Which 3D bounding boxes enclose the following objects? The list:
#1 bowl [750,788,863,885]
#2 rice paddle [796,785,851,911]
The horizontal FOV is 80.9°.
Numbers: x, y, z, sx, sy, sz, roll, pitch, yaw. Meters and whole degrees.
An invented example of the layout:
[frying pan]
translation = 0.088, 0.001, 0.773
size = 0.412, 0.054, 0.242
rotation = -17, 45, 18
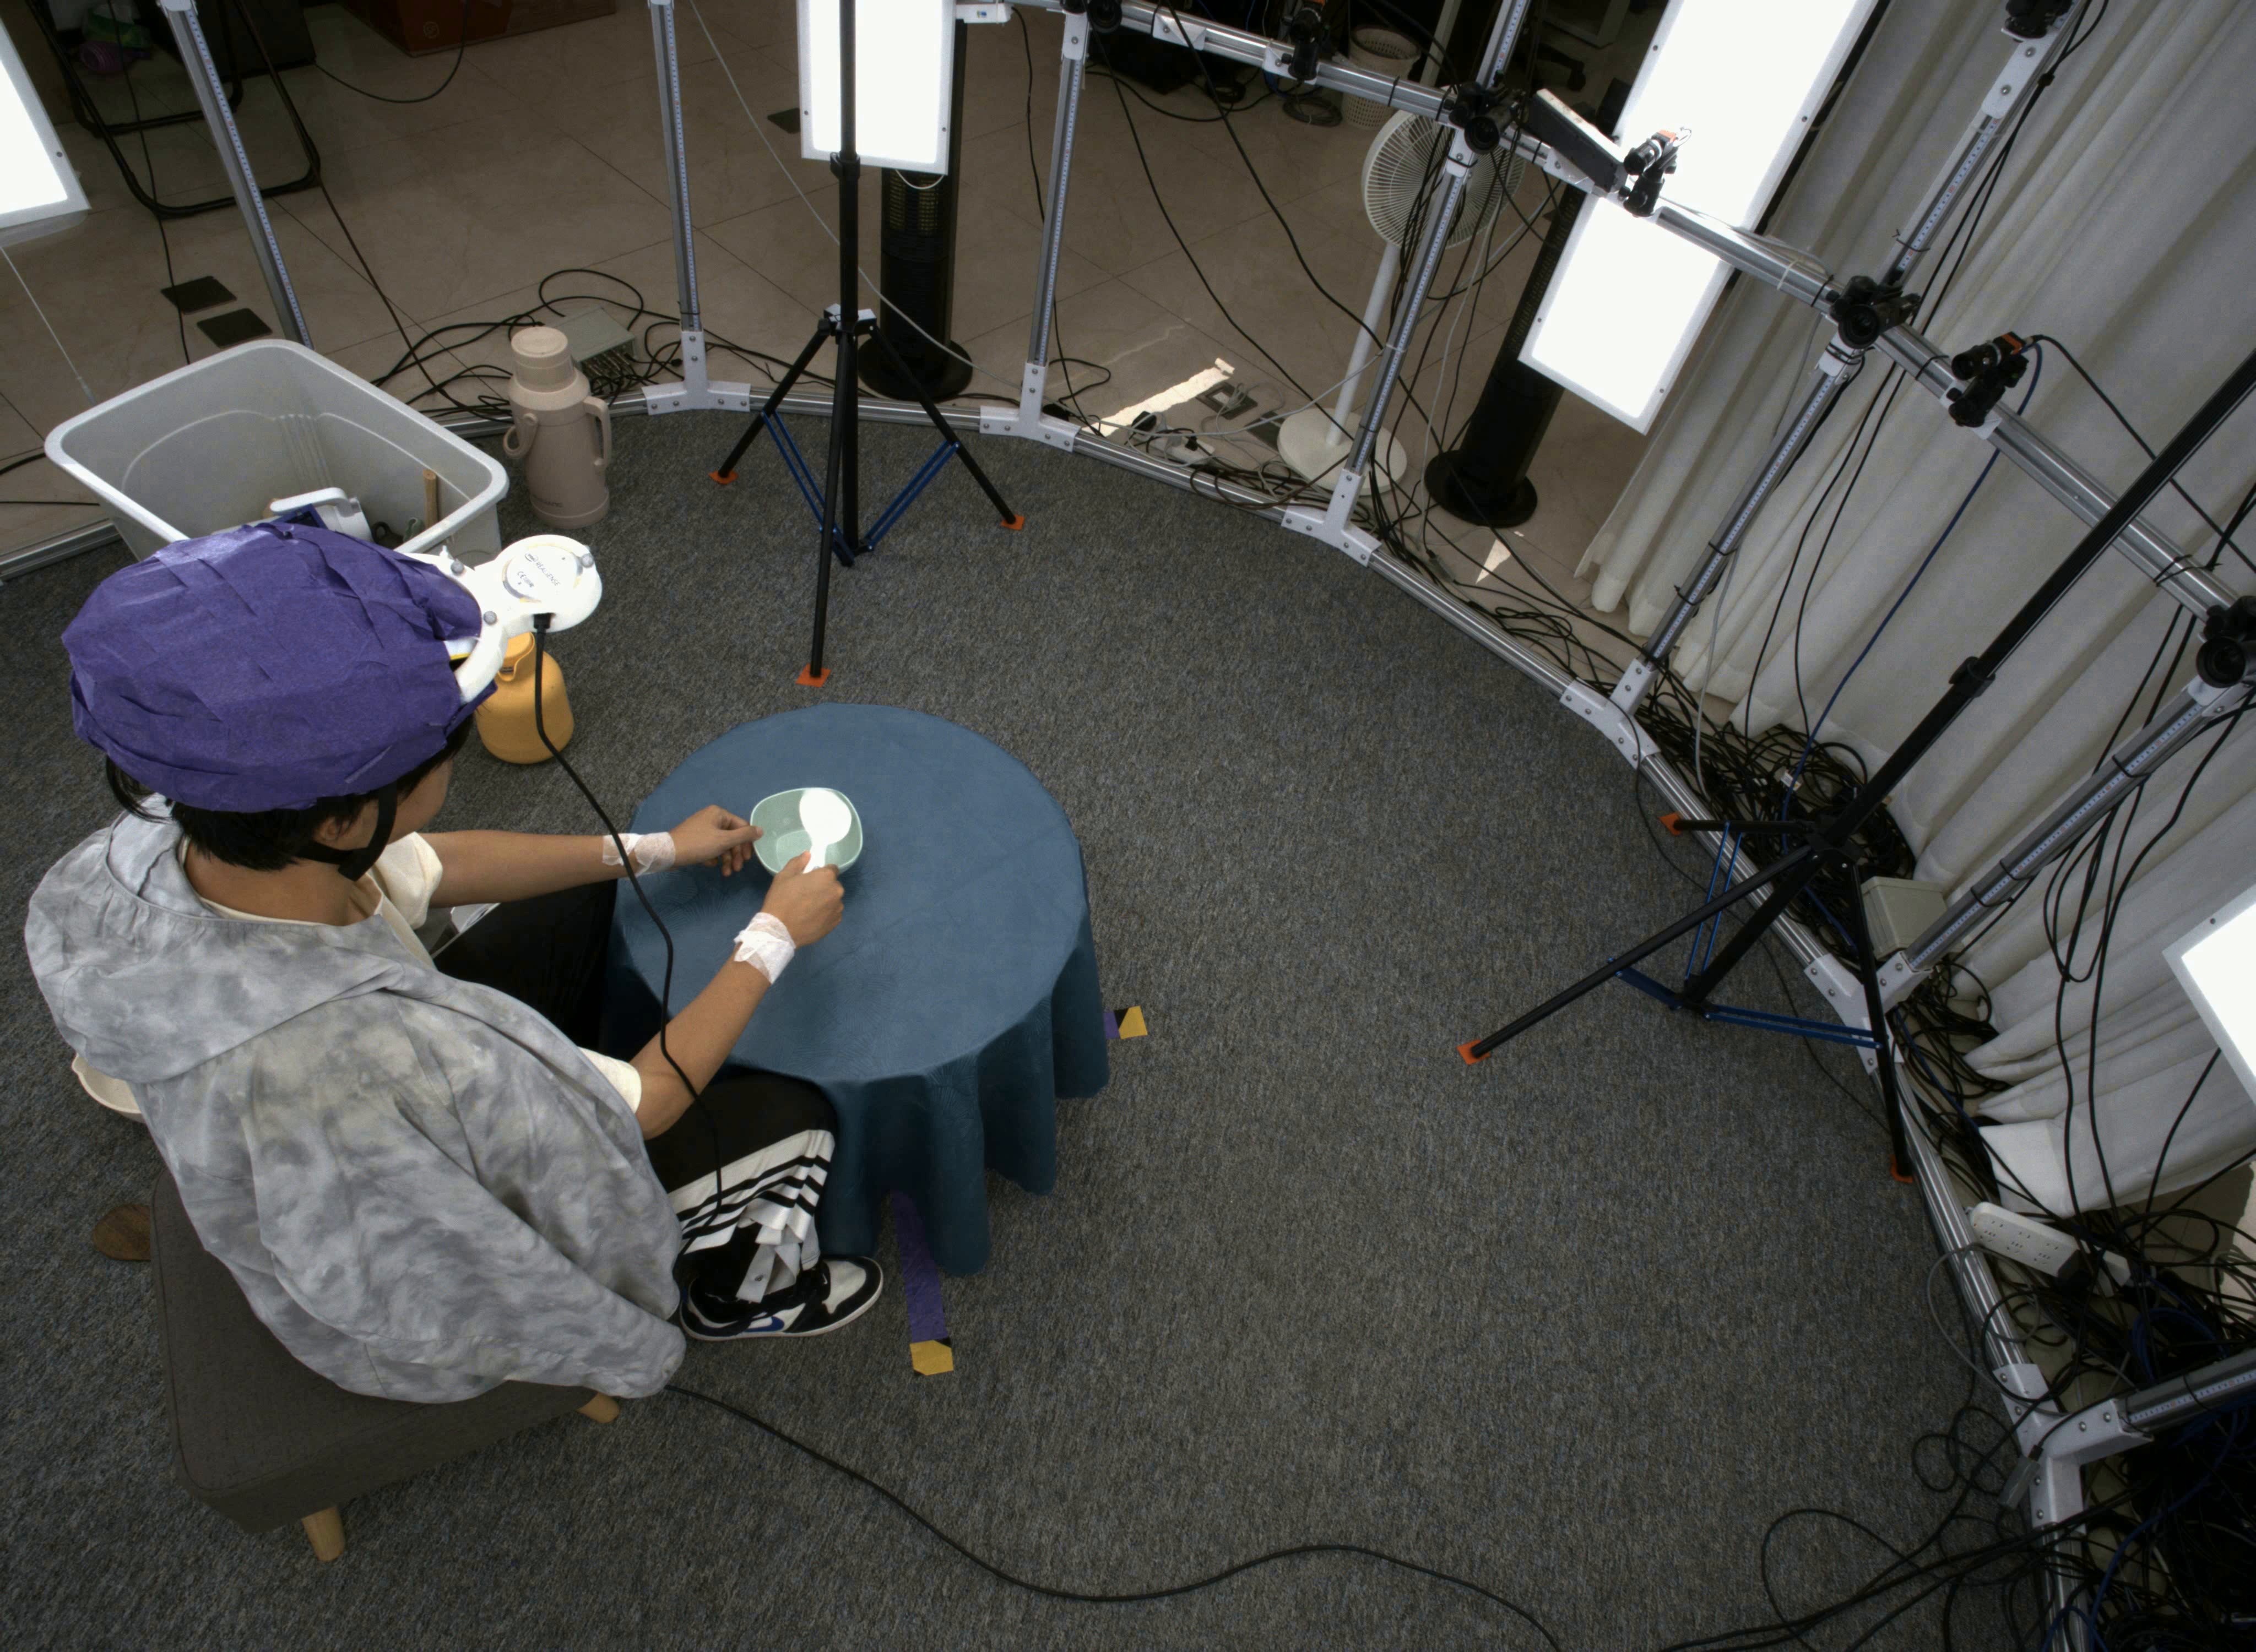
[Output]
[bowl]
translation = -0.415, 0.022, 1.675
size = 0.151, 0.059, 0.149
rotation = 10, 52, -10
[rice paddle]
translation = -0.374, 0.018, 1.575
size = 0.070, 0.029, 0.200
rotation = 31, 34, -28
